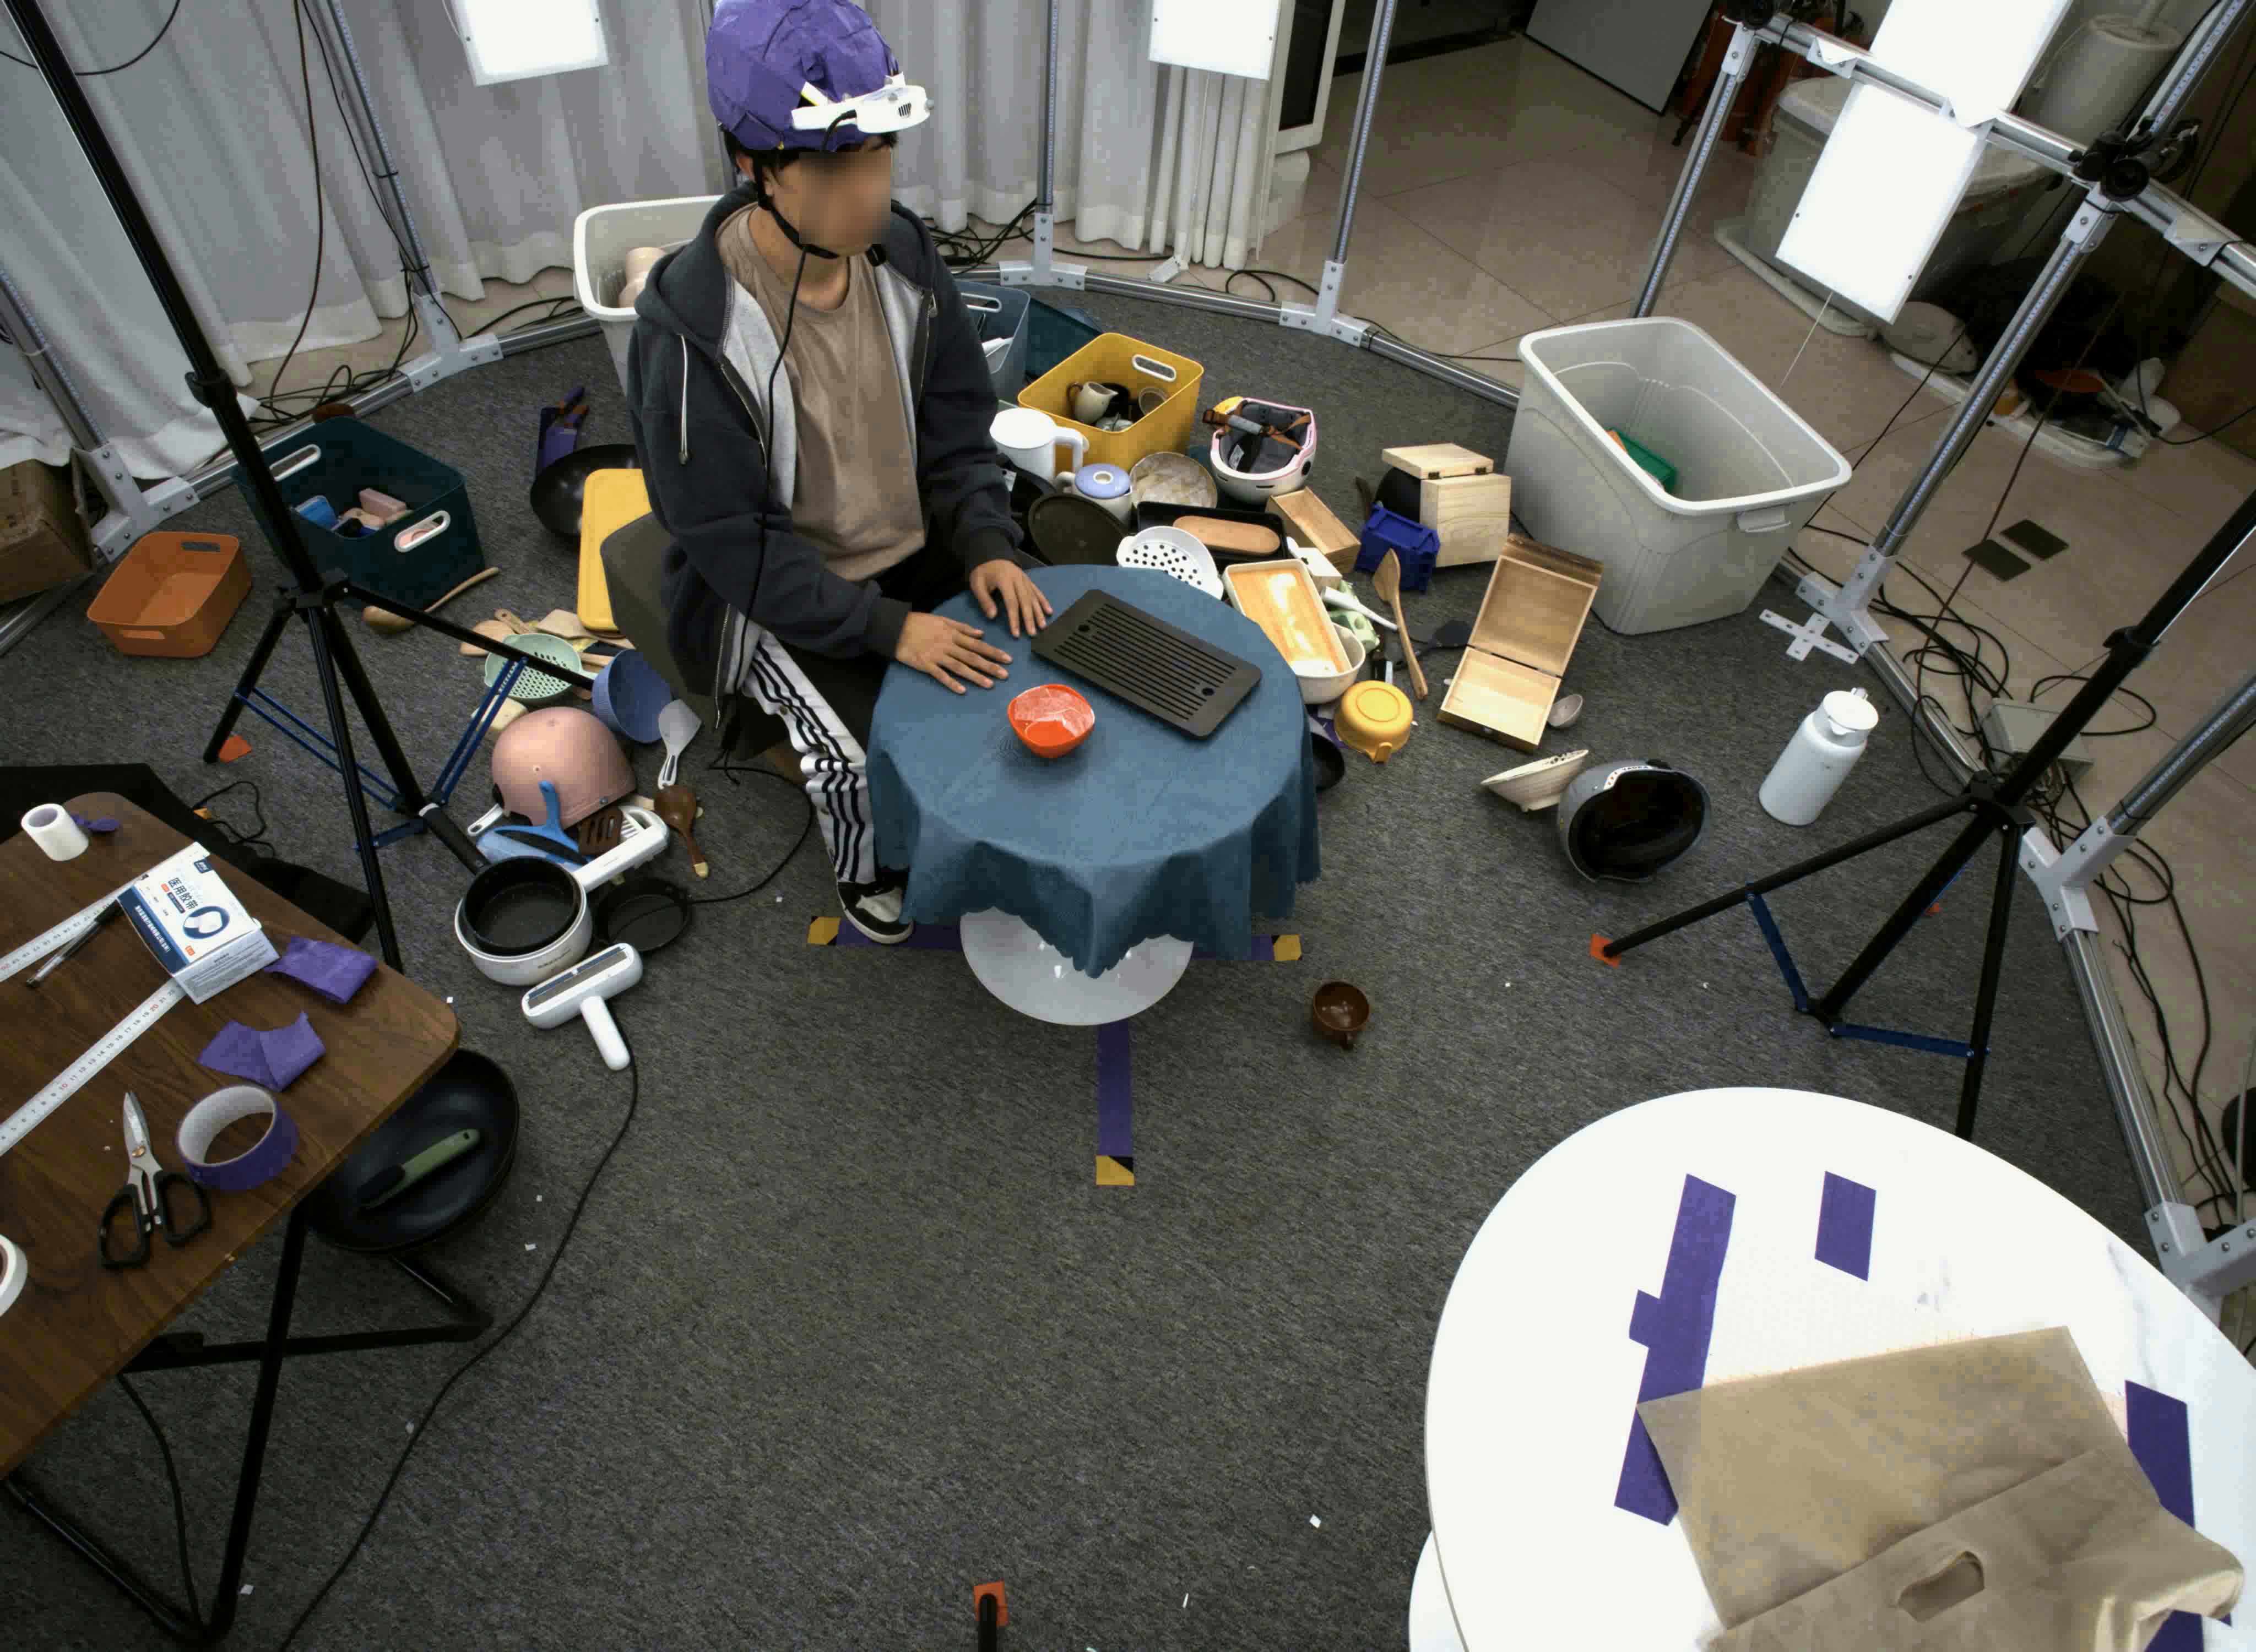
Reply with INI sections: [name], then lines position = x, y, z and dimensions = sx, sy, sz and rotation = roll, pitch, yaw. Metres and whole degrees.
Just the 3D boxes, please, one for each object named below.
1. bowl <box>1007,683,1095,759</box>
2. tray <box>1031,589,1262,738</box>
[bowl]
position = -0.105, -0.137, 1.743
dimensions = 0.119, 0.050, 0.122
rotation = 2, 50, -2
[tray]
position = 0.026, -0.239, 1.864
dimensions = 0.309, 0.018, 0.172
rotation = 29, 53, 20
